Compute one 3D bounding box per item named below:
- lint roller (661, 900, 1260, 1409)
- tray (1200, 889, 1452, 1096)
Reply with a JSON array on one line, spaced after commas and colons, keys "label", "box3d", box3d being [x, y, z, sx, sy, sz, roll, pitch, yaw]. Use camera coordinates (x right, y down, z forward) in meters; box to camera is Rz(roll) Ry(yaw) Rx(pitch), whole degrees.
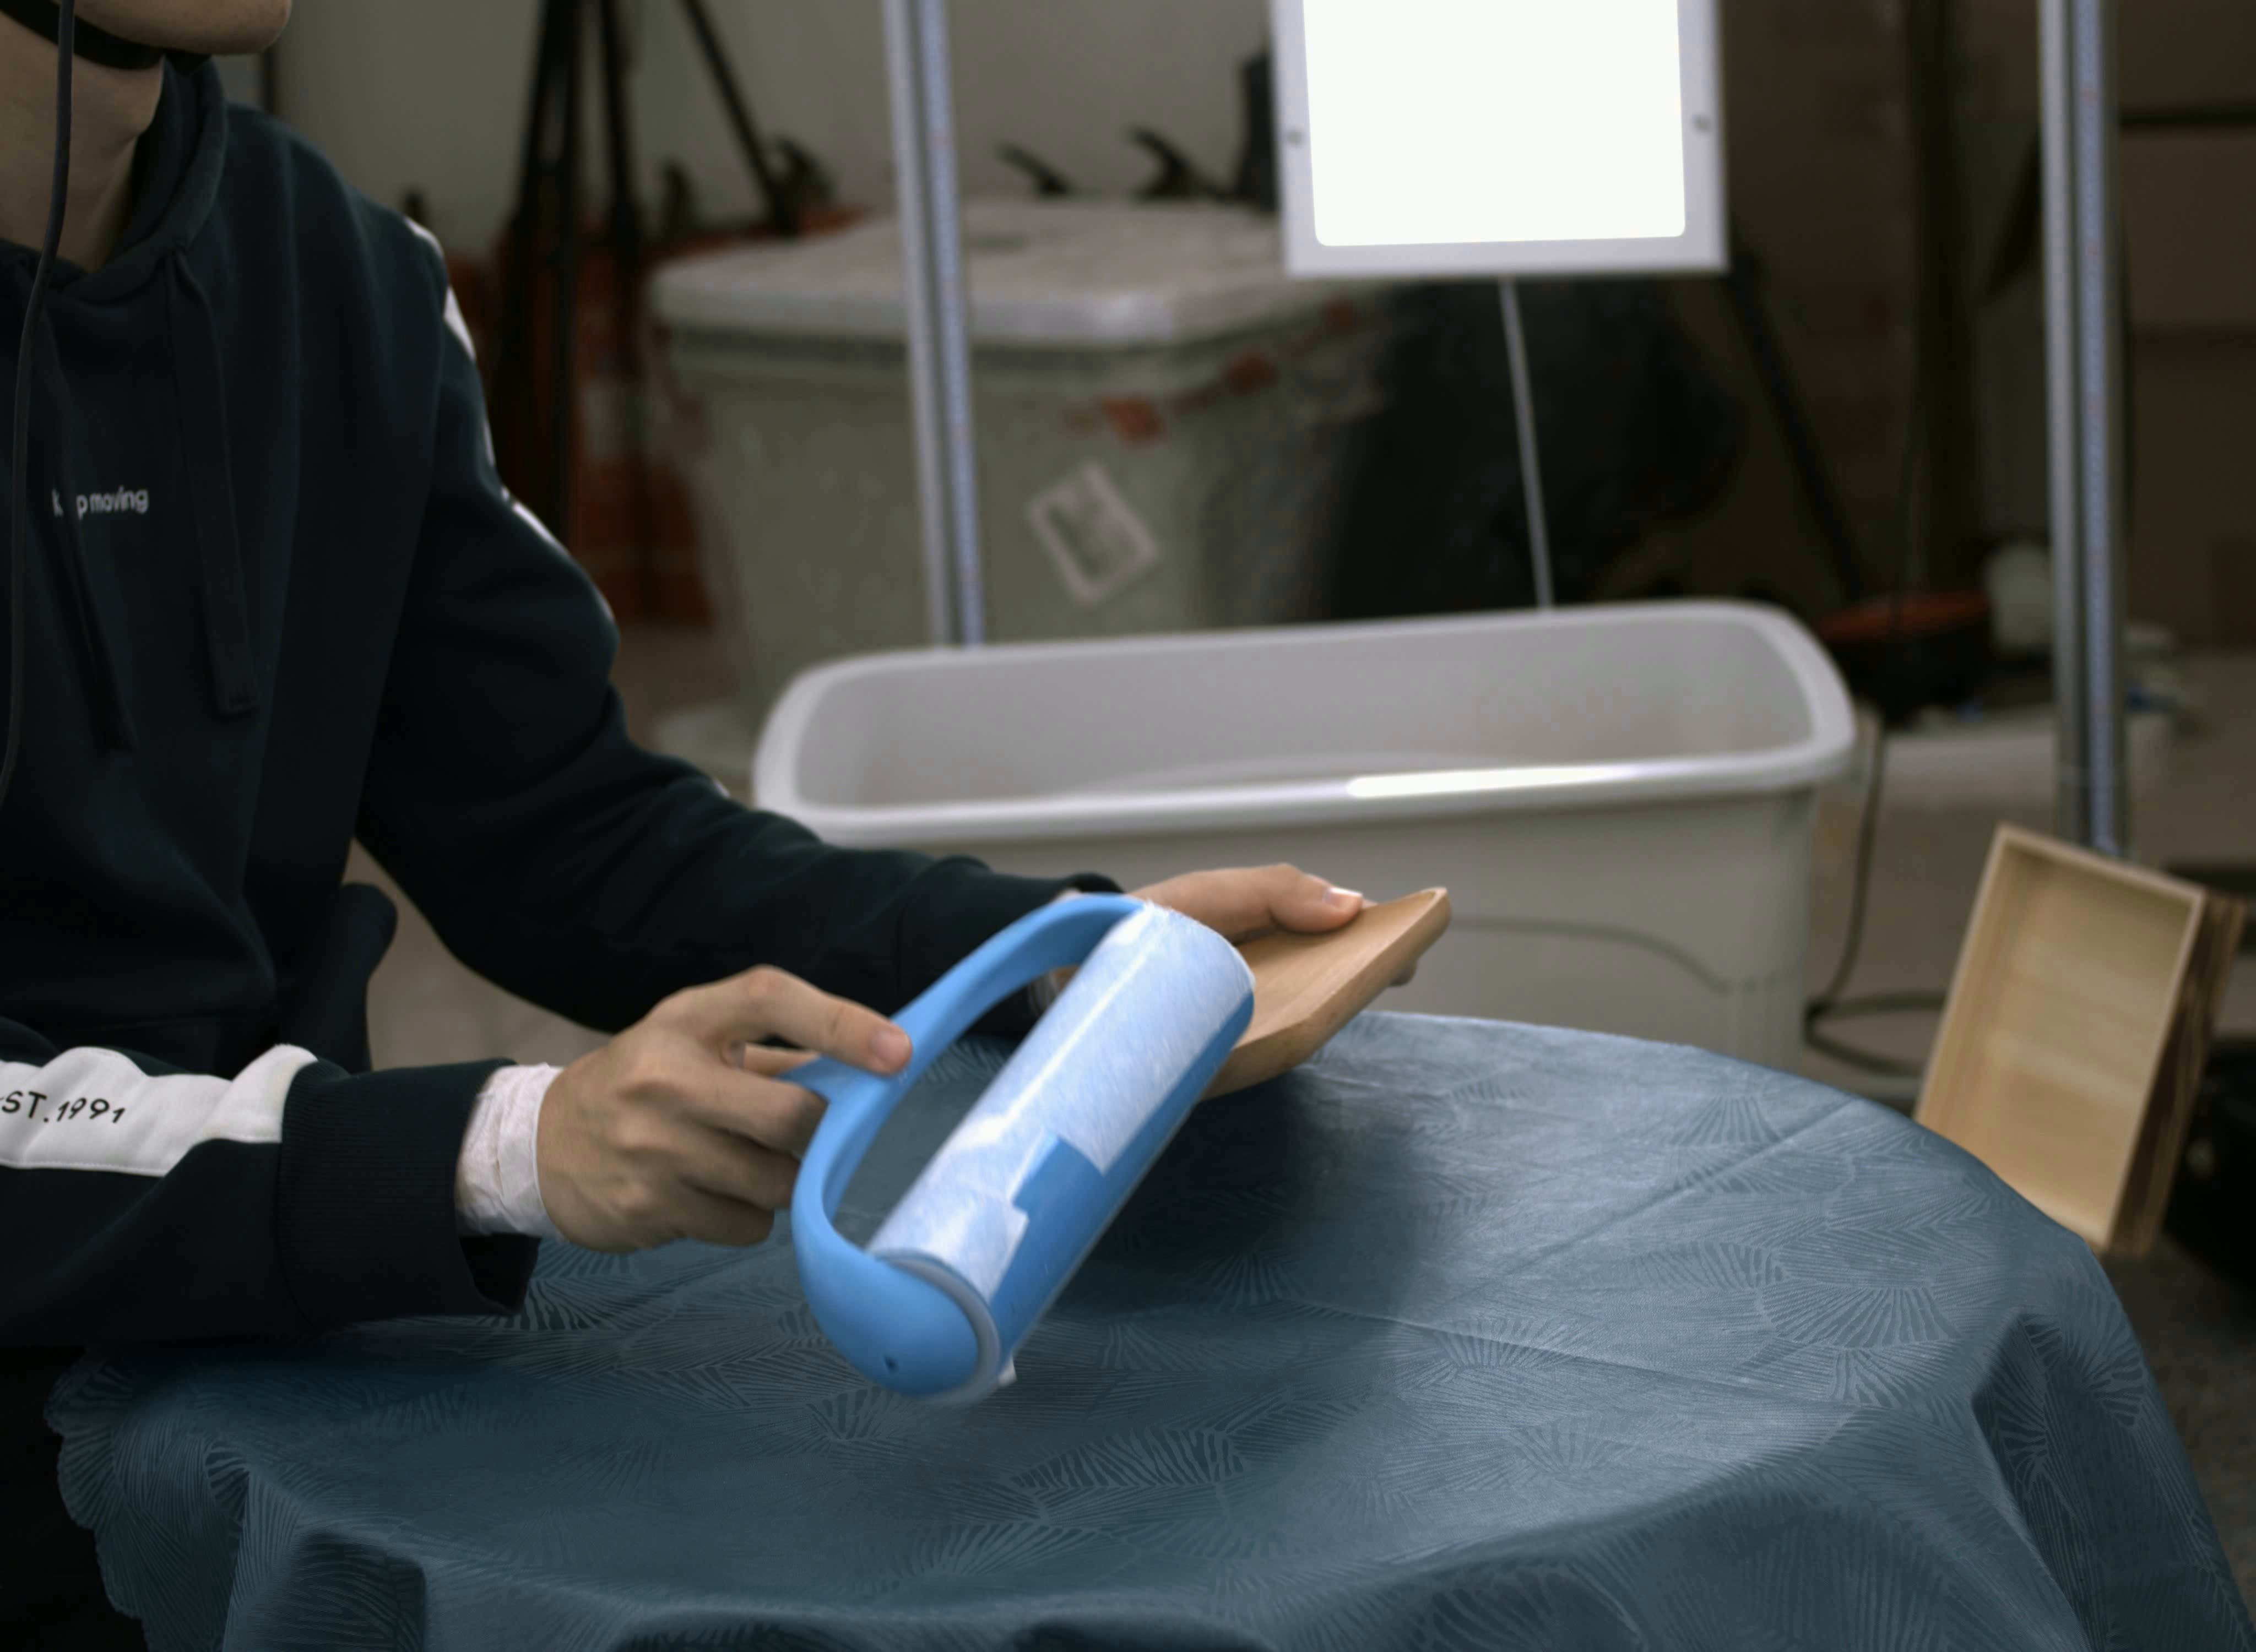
[{"label": "lint roller", "box3d": [-0.073, 0.101, 1.686, 0.183, 0.068, 0.225, -4, 30, 27]}, {"label": "tray", "box3d": [0.030, 0.066, 1.894, 0.132, 0.023, 0.246, -21, 5, 21]}]
